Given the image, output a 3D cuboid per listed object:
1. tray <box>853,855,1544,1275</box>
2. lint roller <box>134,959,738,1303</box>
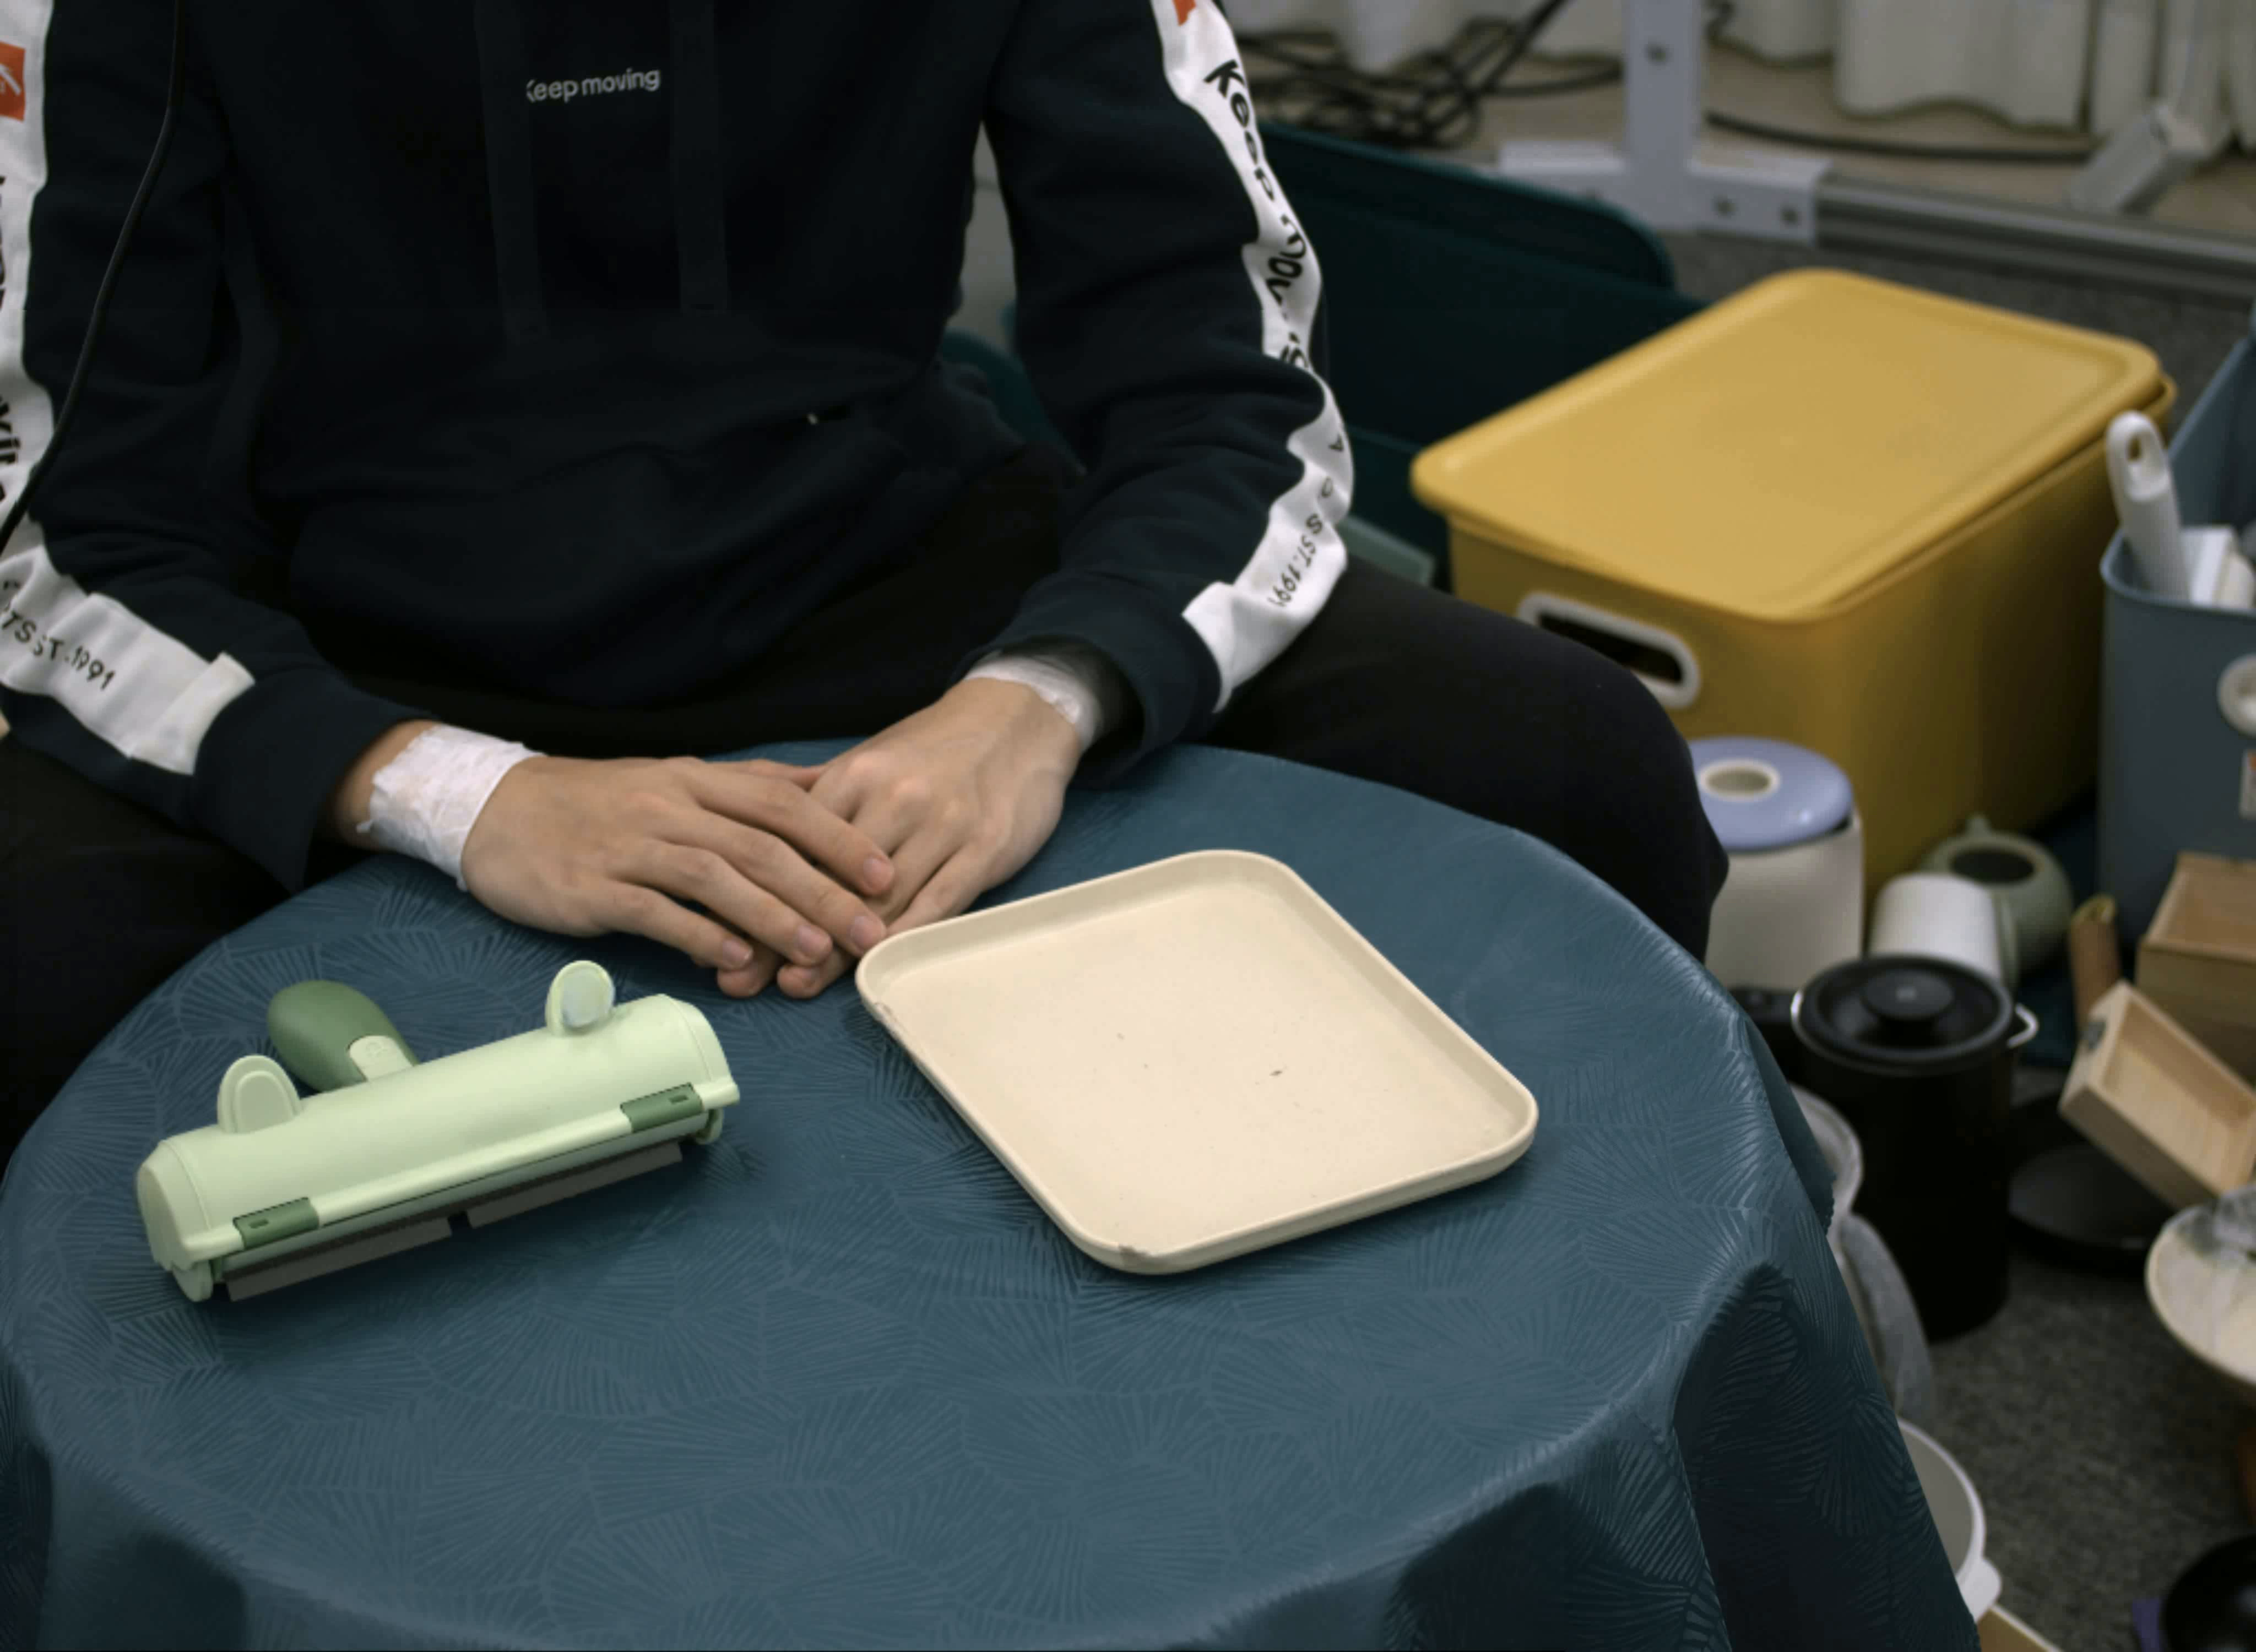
[{"bbox_3d":[0.021,0.080,1.919,0.172,0.017,0.241,-14,30,-22],"label":"tray"},{"bbox_3d":[-0.254,0.075,1.893,0.199,0.081,0.184,-16,34,-23],"label":"lint roller"}]
